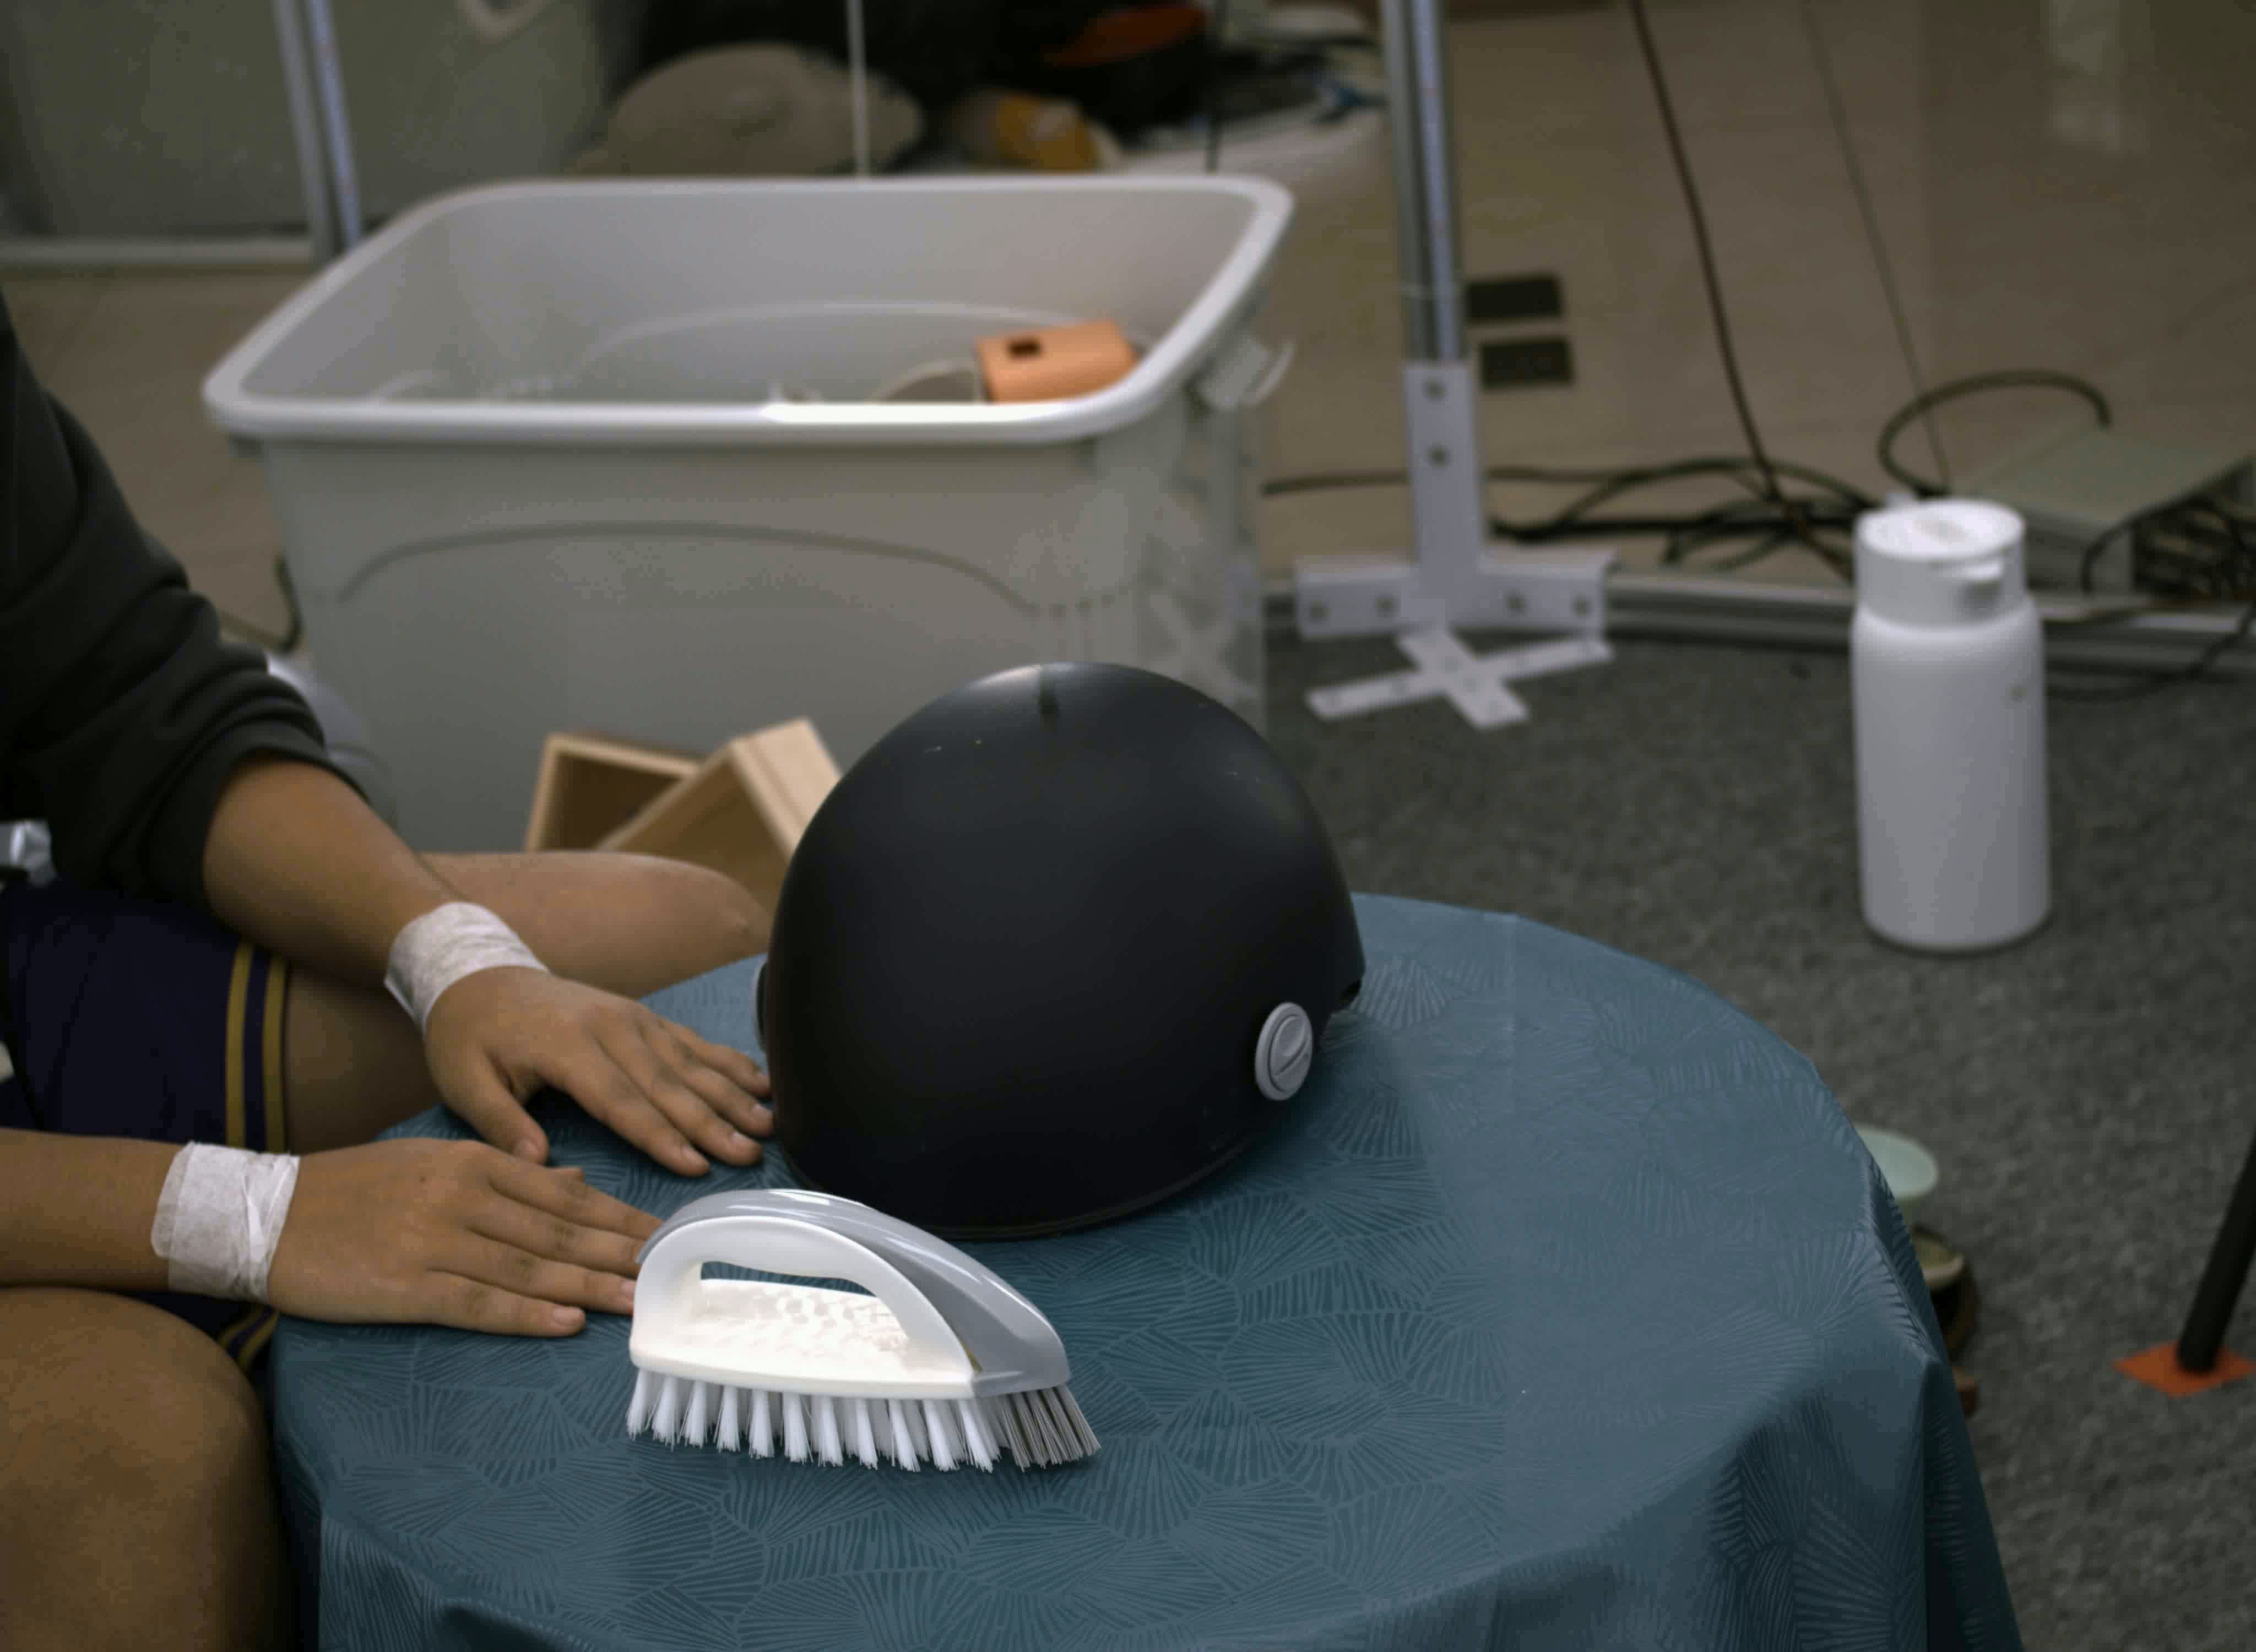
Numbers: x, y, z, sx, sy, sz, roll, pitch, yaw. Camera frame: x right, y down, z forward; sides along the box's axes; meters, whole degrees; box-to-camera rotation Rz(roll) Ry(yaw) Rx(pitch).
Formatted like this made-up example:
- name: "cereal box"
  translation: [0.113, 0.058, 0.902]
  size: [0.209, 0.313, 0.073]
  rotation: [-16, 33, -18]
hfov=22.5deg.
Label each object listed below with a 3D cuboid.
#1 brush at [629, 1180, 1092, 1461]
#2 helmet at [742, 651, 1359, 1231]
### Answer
- name: "brush"
  translation: [-0.096, 0.171, 1.992]
  size: [0.175, 0.096, 0.060]
  rotation: [8, 31, 24]
- name: "helmet"
  translation: [-0.034, 0.028, 2.202]
  size: [0.229, 0.169, 0.269]
  rotation: [5, 30, 24]
